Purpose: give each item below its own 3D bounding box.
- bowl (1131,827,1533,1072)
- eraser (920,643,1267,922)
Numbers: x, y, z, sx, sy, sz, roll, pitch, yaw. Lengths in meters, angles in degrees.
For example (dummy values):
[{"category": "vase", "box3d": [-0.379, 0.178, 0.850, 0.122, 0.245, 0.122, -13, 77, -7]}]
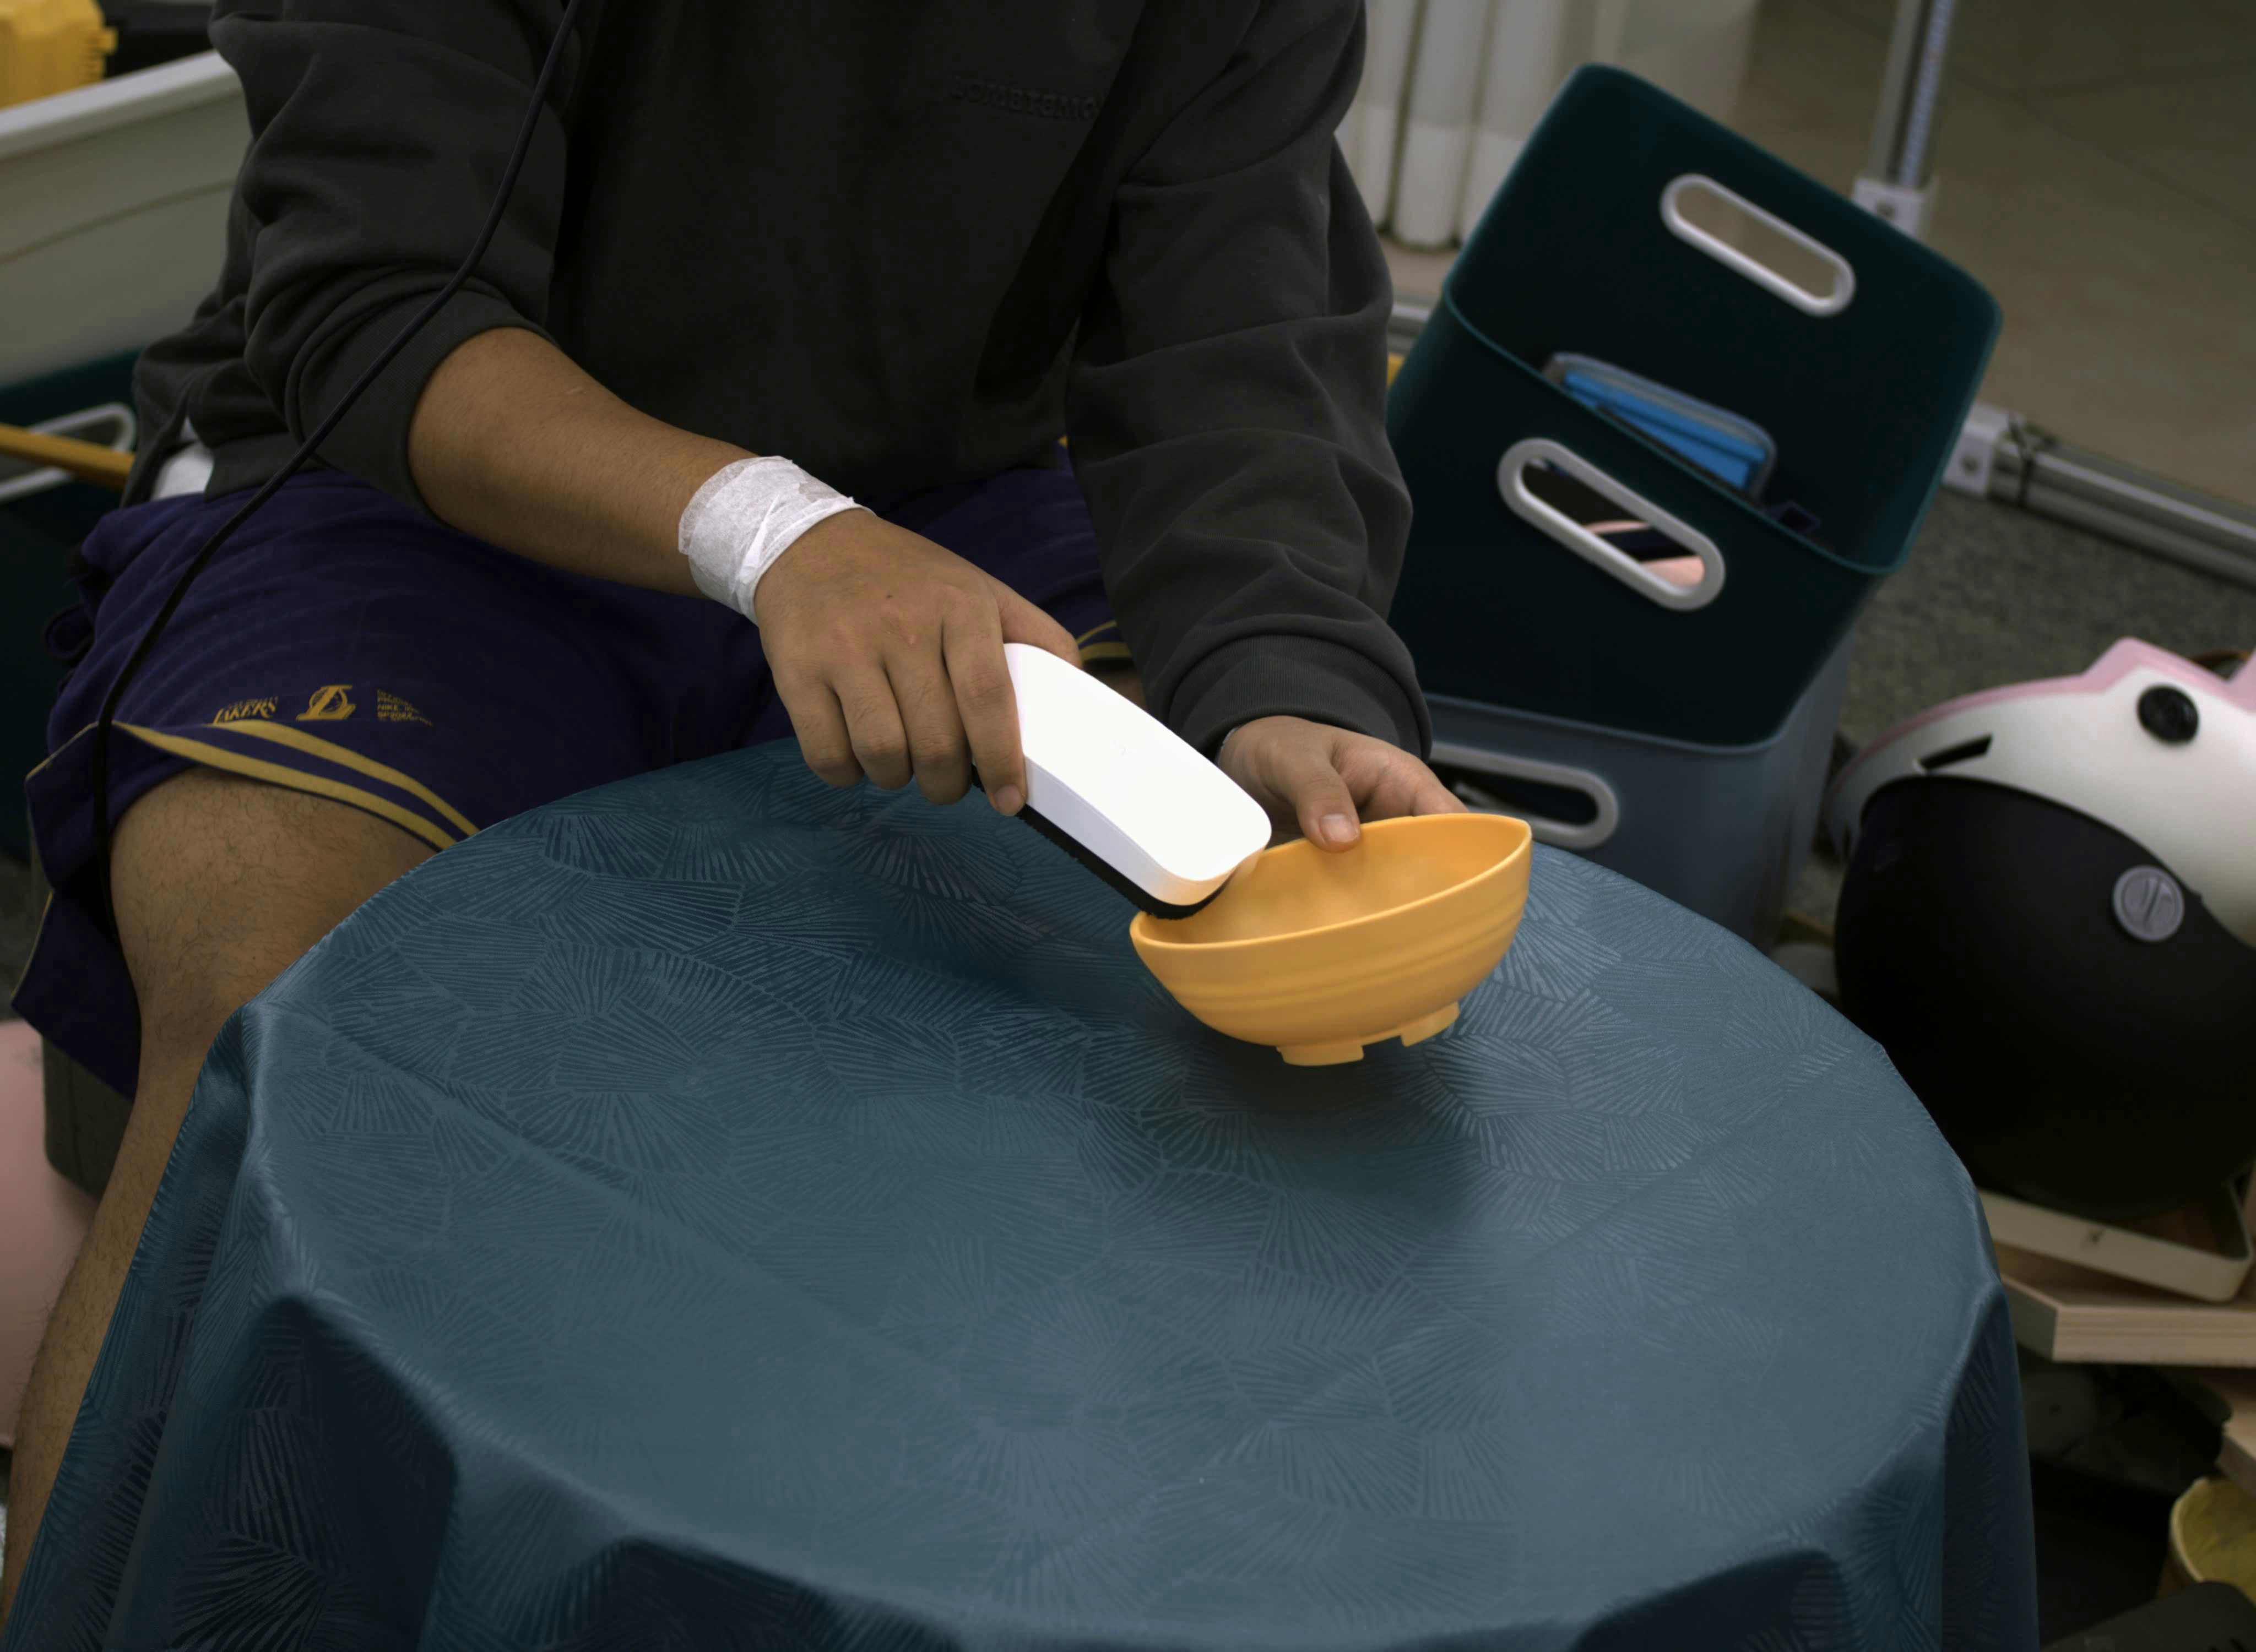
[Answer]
[{"category": "bowl", "box3d": [0.078, 0.048, 1.863, 0.145, 0.060, 0.145, -14, 9, 2]}, {"category": "eraser", "box3d": [-0.012, -0.019, 1.912, 0.132, 0.034, 0.063, 38, 39, 21]}]
